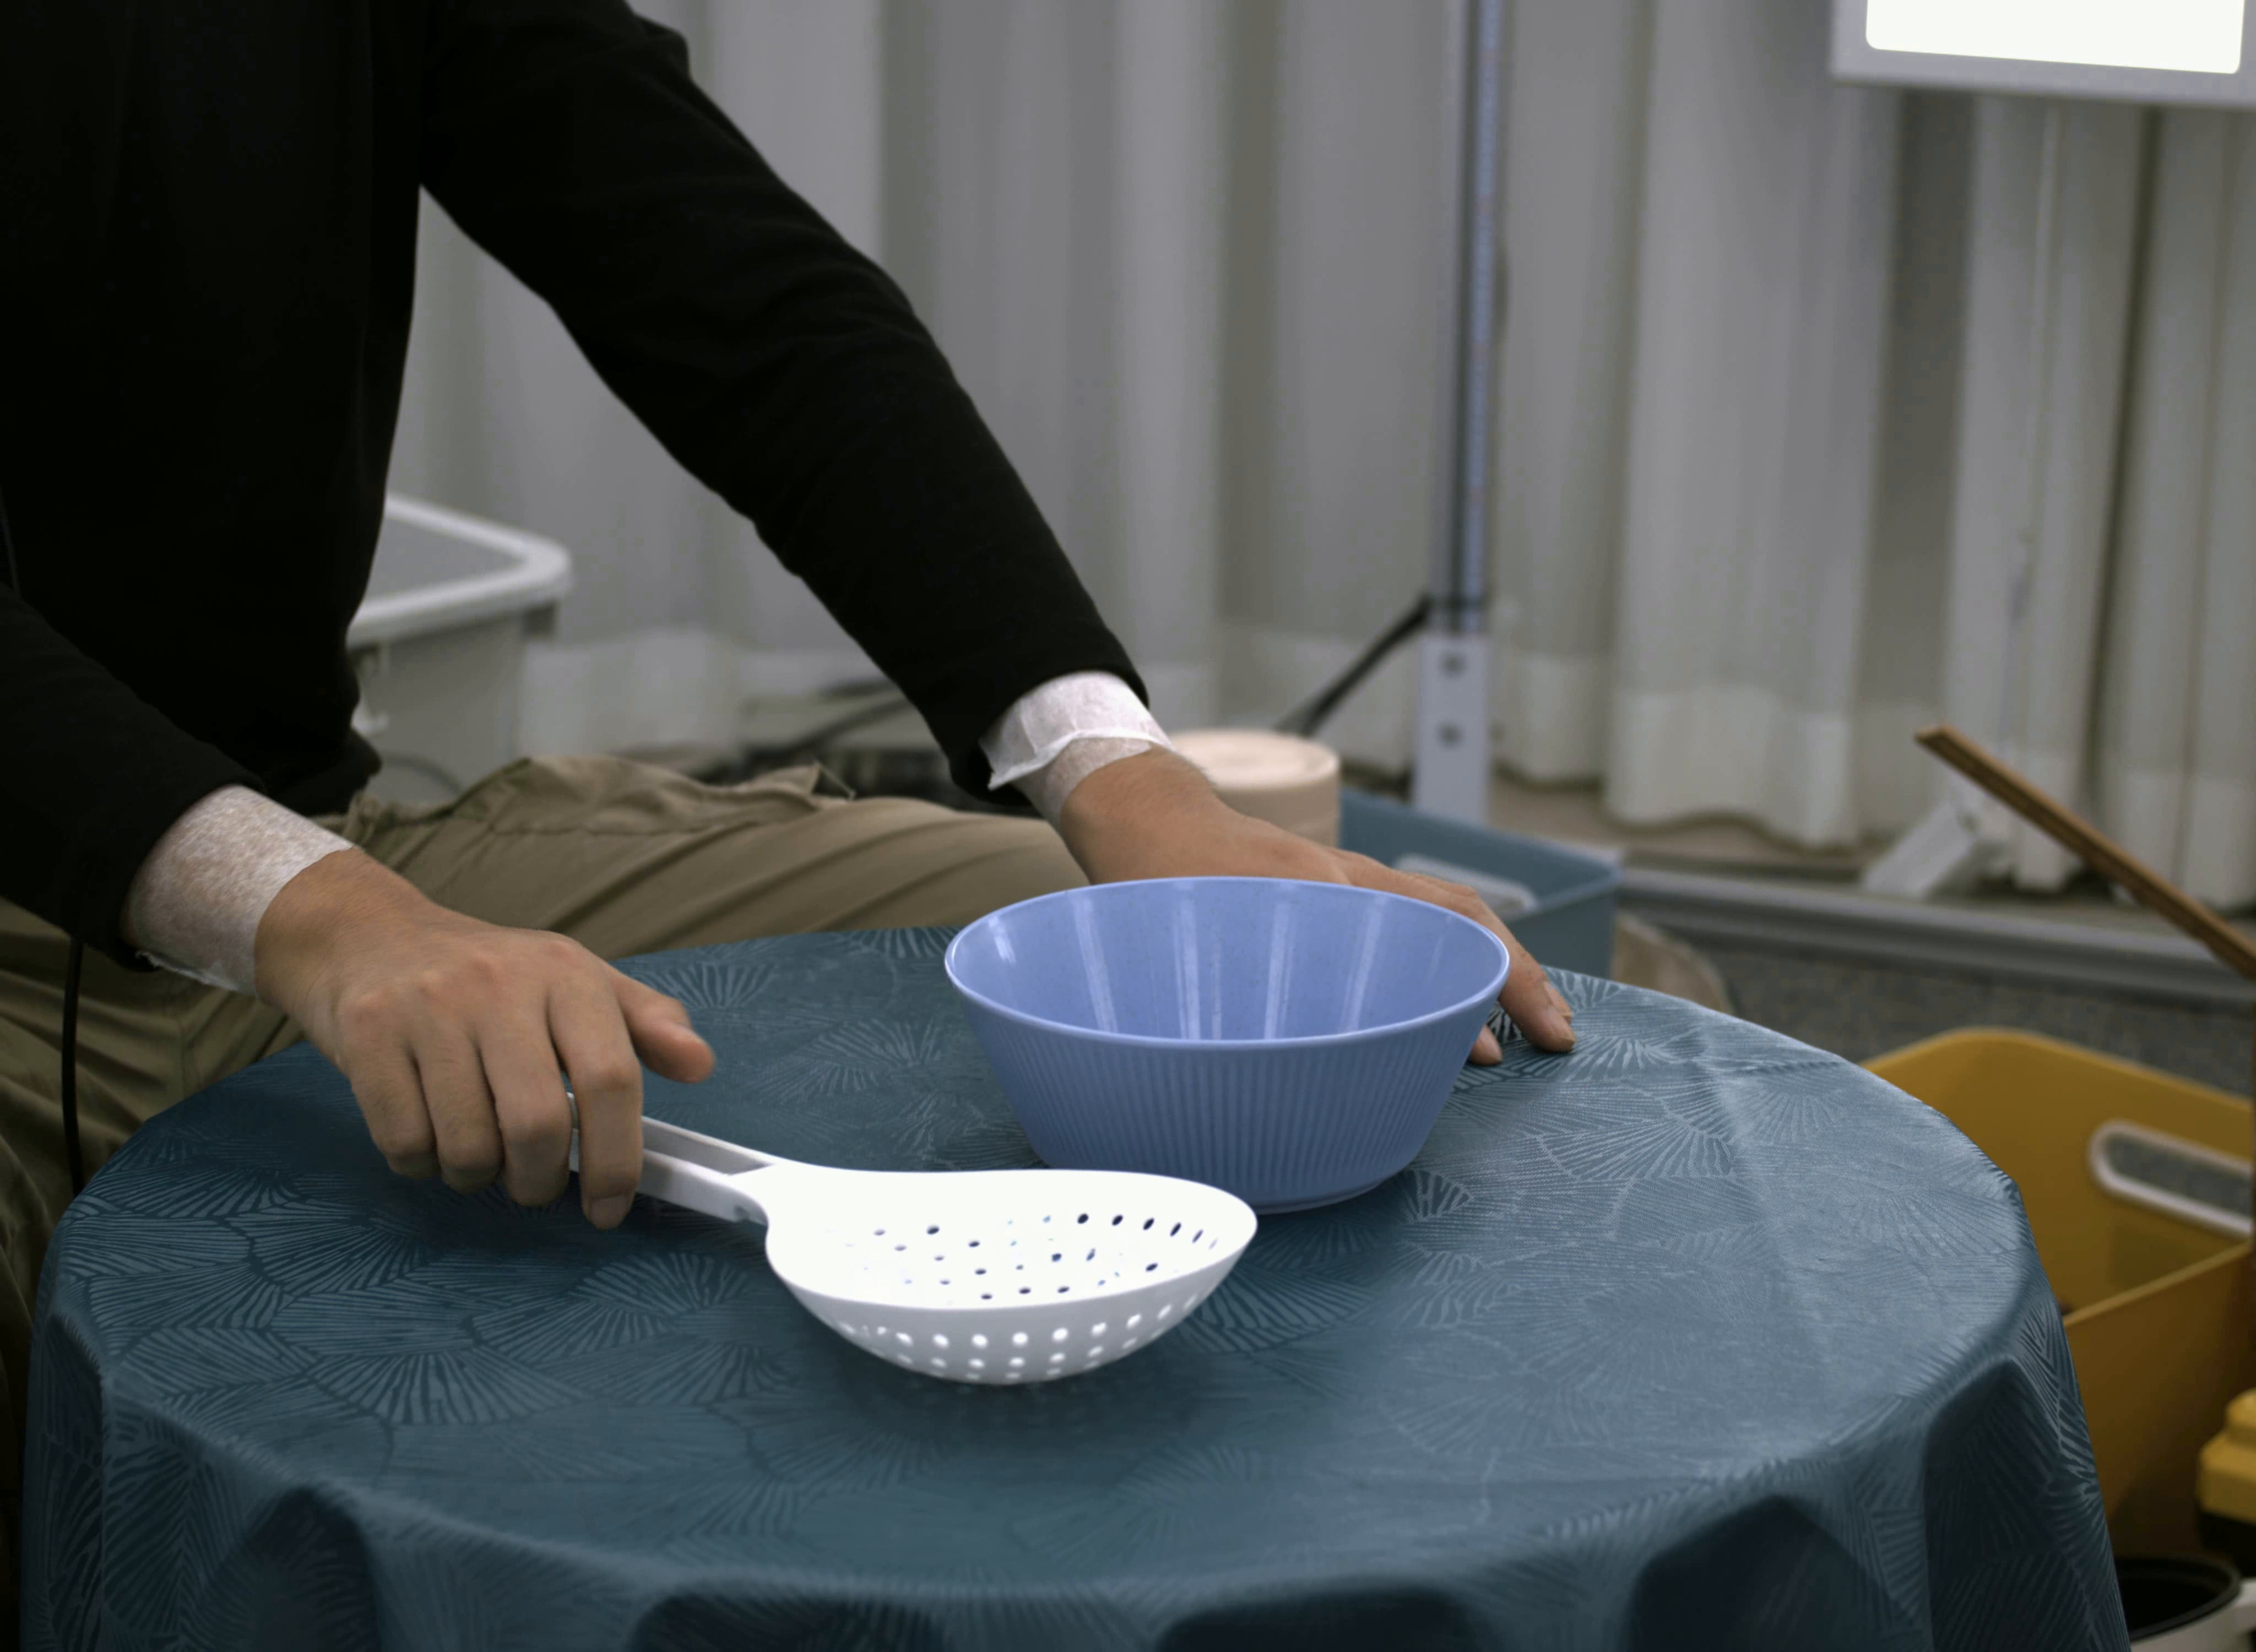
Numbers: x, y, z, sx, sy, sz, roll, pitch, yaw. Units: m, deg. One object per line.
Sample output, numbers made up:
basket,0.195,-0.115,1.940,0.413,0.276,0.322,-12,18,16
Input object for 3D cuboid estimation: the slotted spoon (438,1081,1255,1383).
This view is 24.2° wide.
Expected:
slotted spoon,-0.100,0.109,1.545,0.136,0.046,0.345,-14,20,-38

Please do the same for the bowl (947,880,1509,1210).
bowl,0.031,0.070,1.641,0.175,0.071,0.175,1,15,0
